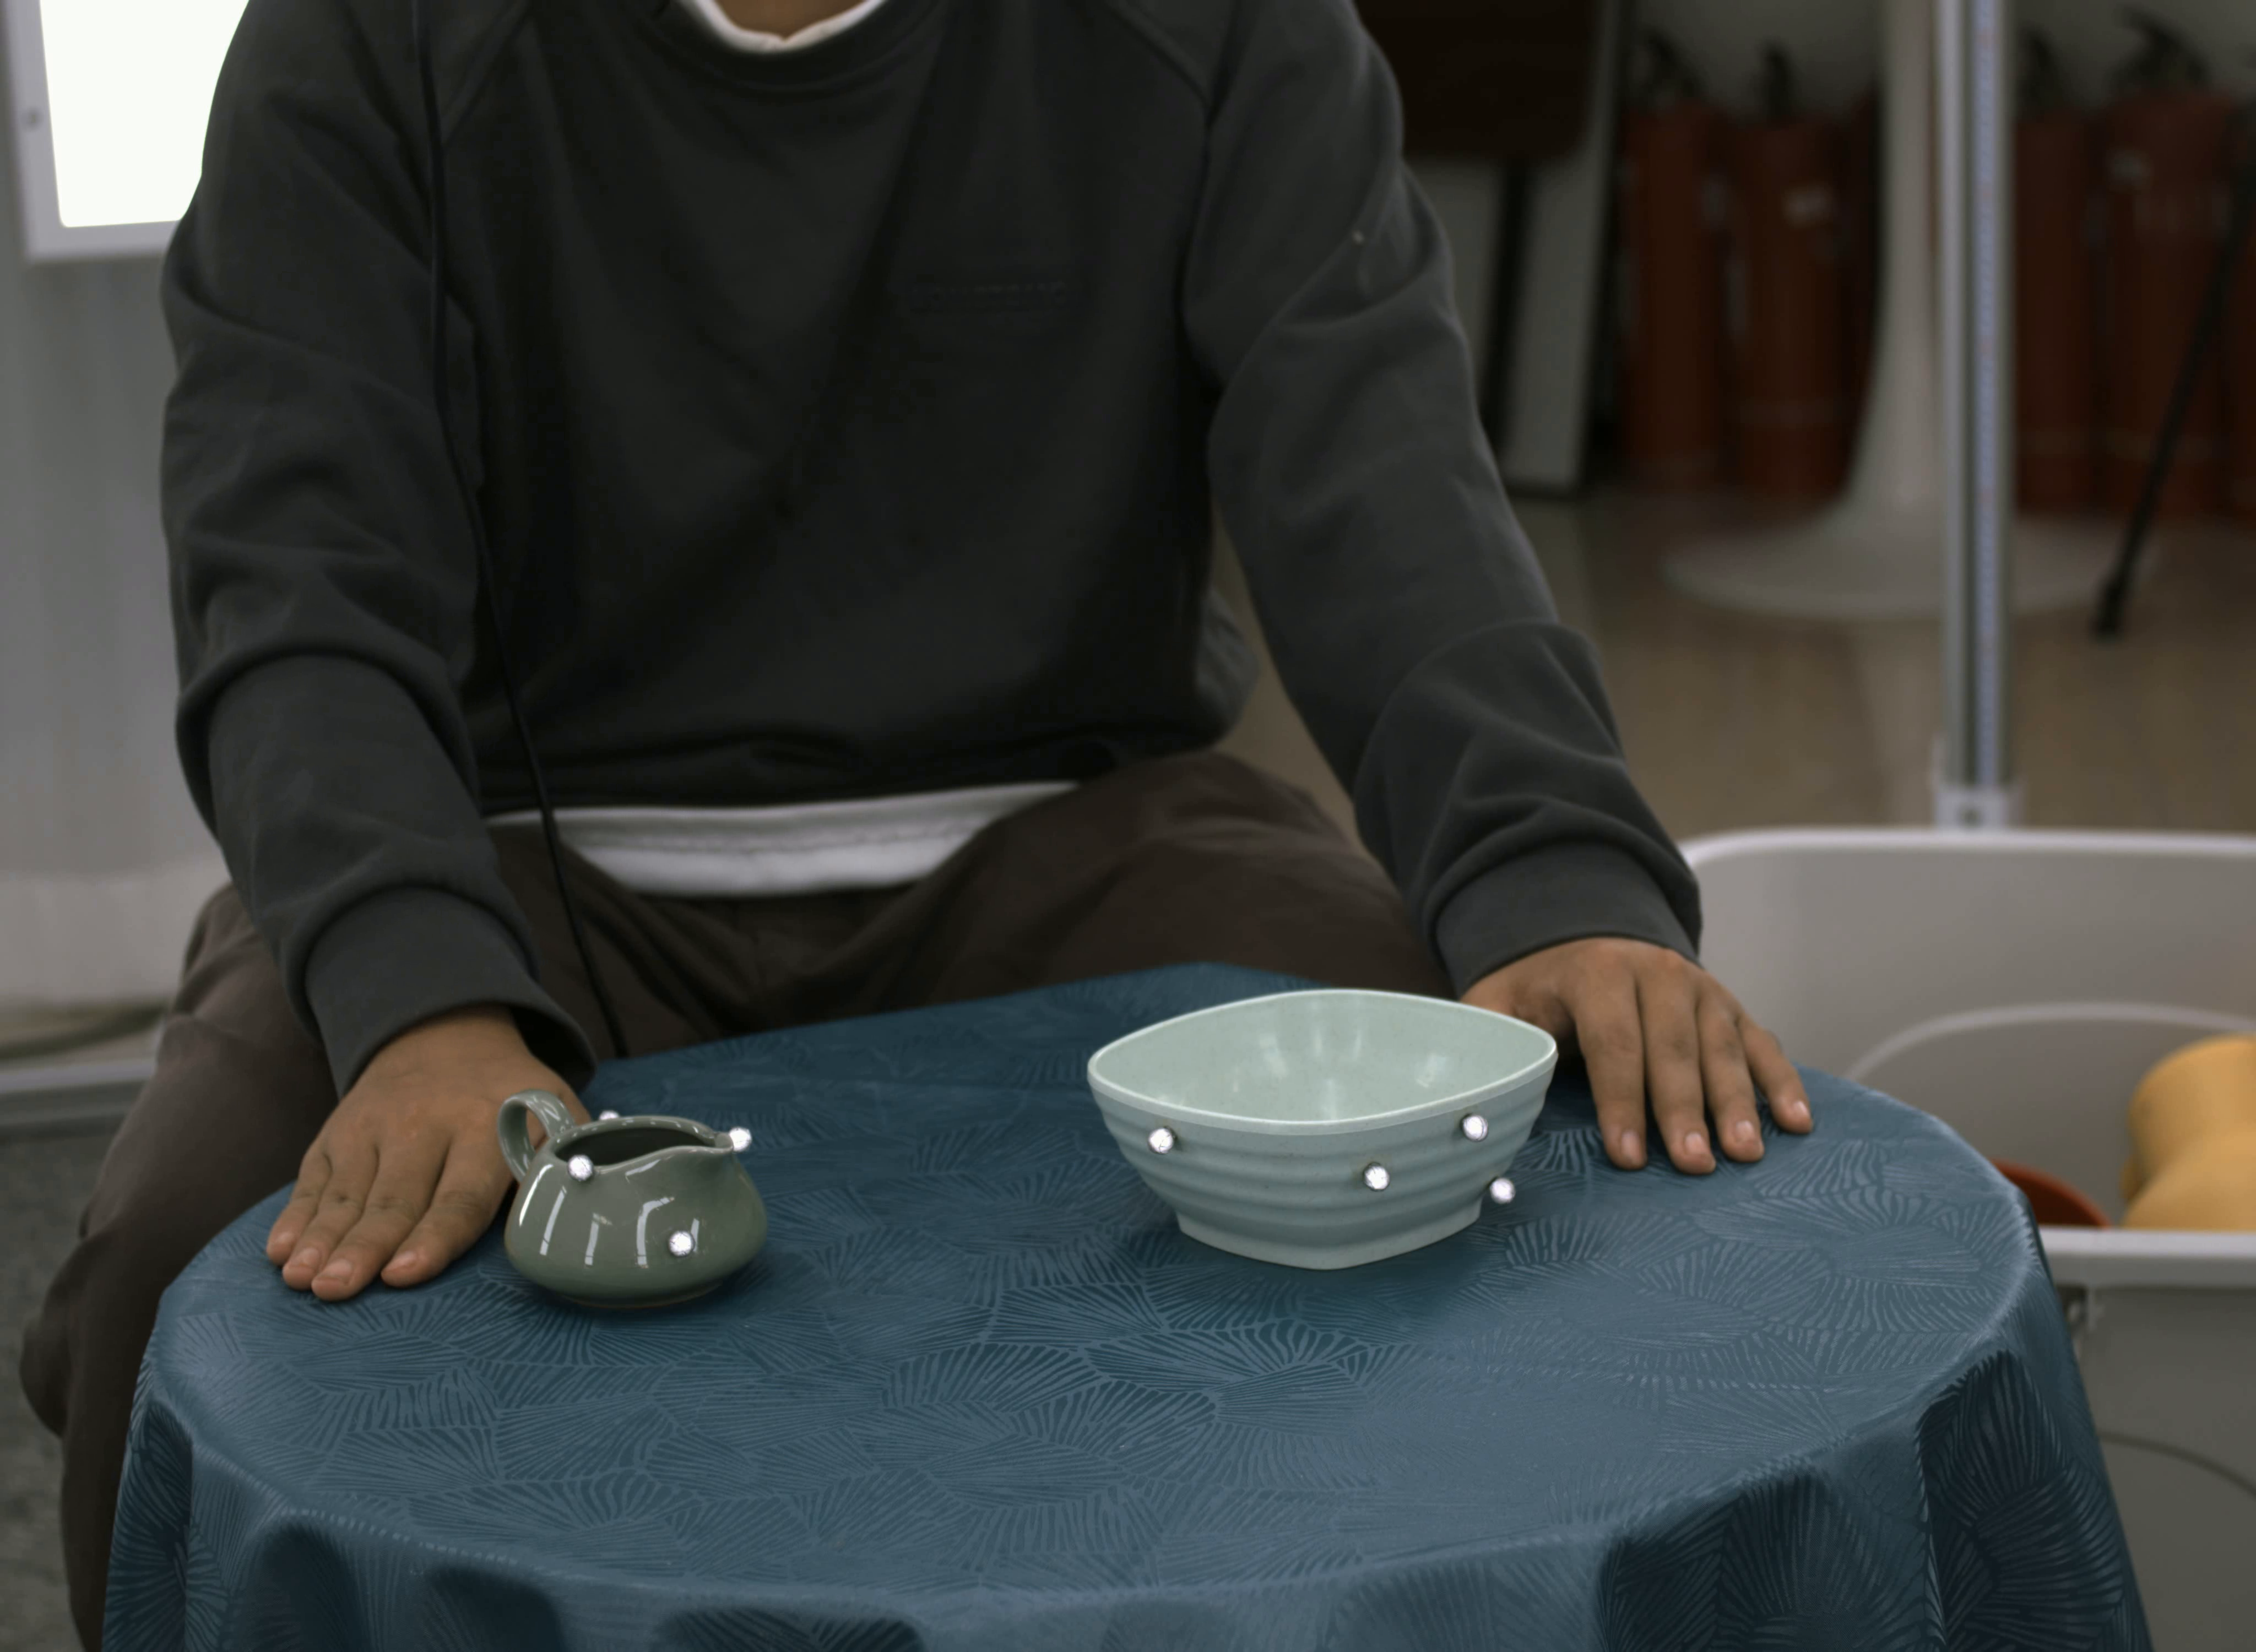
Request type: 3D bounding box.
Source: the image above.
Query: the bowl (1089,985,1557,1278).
[{"bbox_3d":[0.063,0.101,1.724,0.149,0.059,0.152,-3,15,0],"label":"bowl"}]

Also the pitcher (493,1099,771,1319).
[{"bbox_3d":[-0.159,0.120,1.711,0.113,0.057,0.082,8,18,44],"label":"pitcher"}]
